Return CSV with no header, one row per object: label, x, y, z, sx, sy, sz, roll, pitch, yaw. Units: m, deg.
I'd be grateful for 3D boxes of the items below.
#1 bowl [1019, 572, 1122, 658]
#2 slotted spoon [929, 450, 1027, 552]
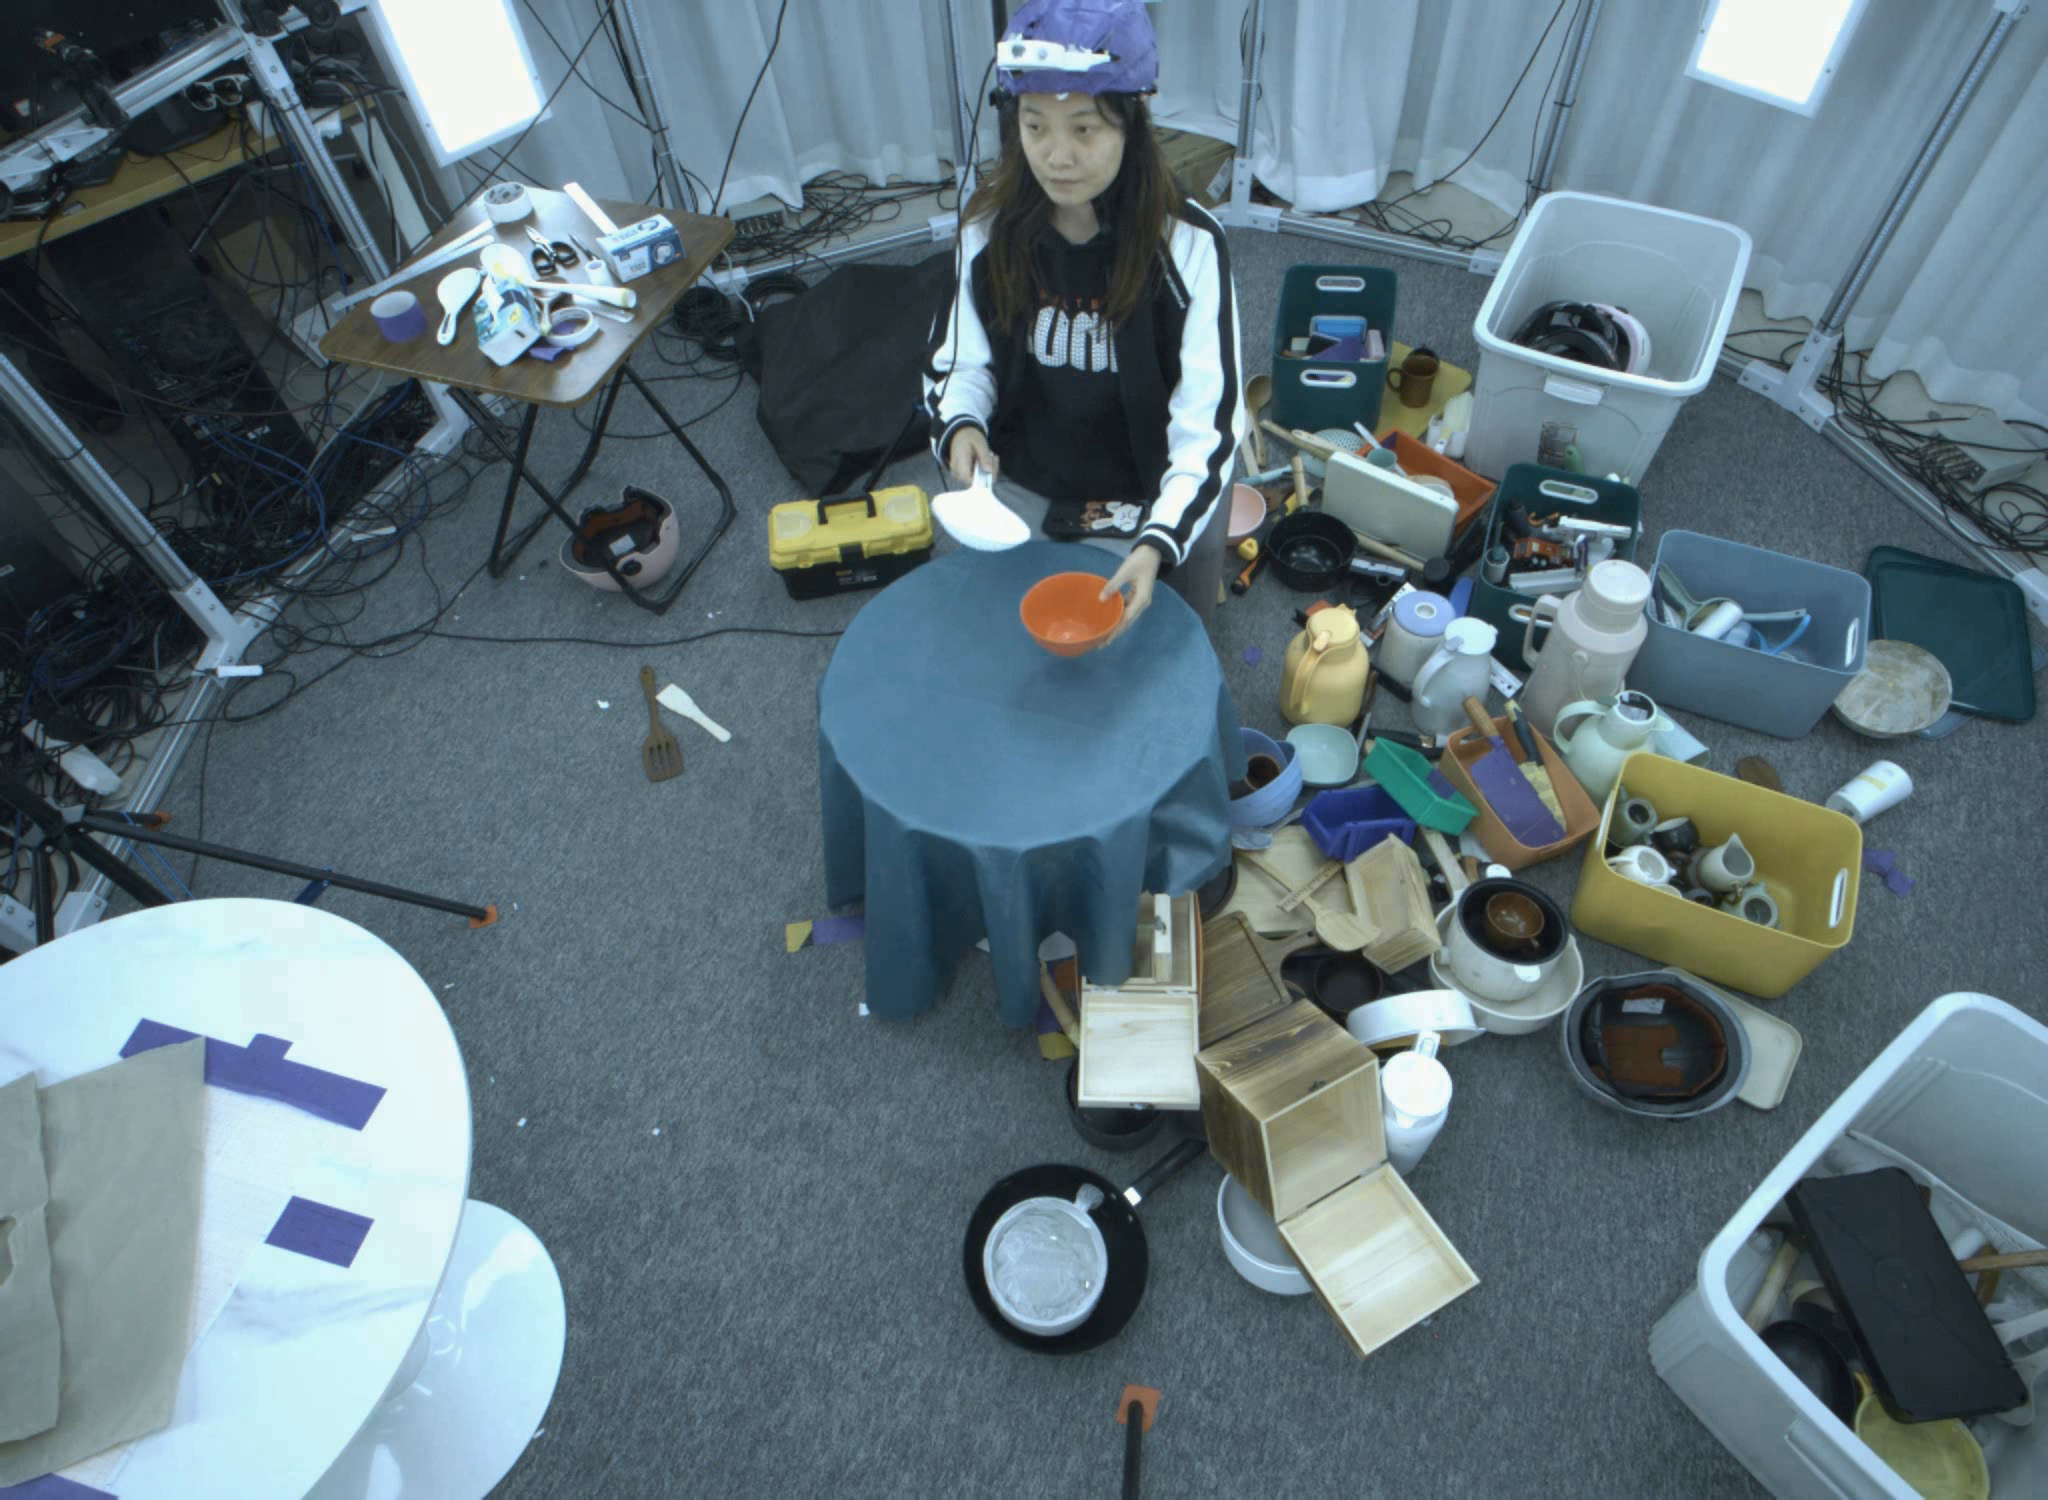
bowl,0.068,-0.182,1.791,0.148,0.106,0.146,-1,59,2
slotted spoon,-0.064,-0.359,1.712,0.137,0.046,0.346,16,36,-10
